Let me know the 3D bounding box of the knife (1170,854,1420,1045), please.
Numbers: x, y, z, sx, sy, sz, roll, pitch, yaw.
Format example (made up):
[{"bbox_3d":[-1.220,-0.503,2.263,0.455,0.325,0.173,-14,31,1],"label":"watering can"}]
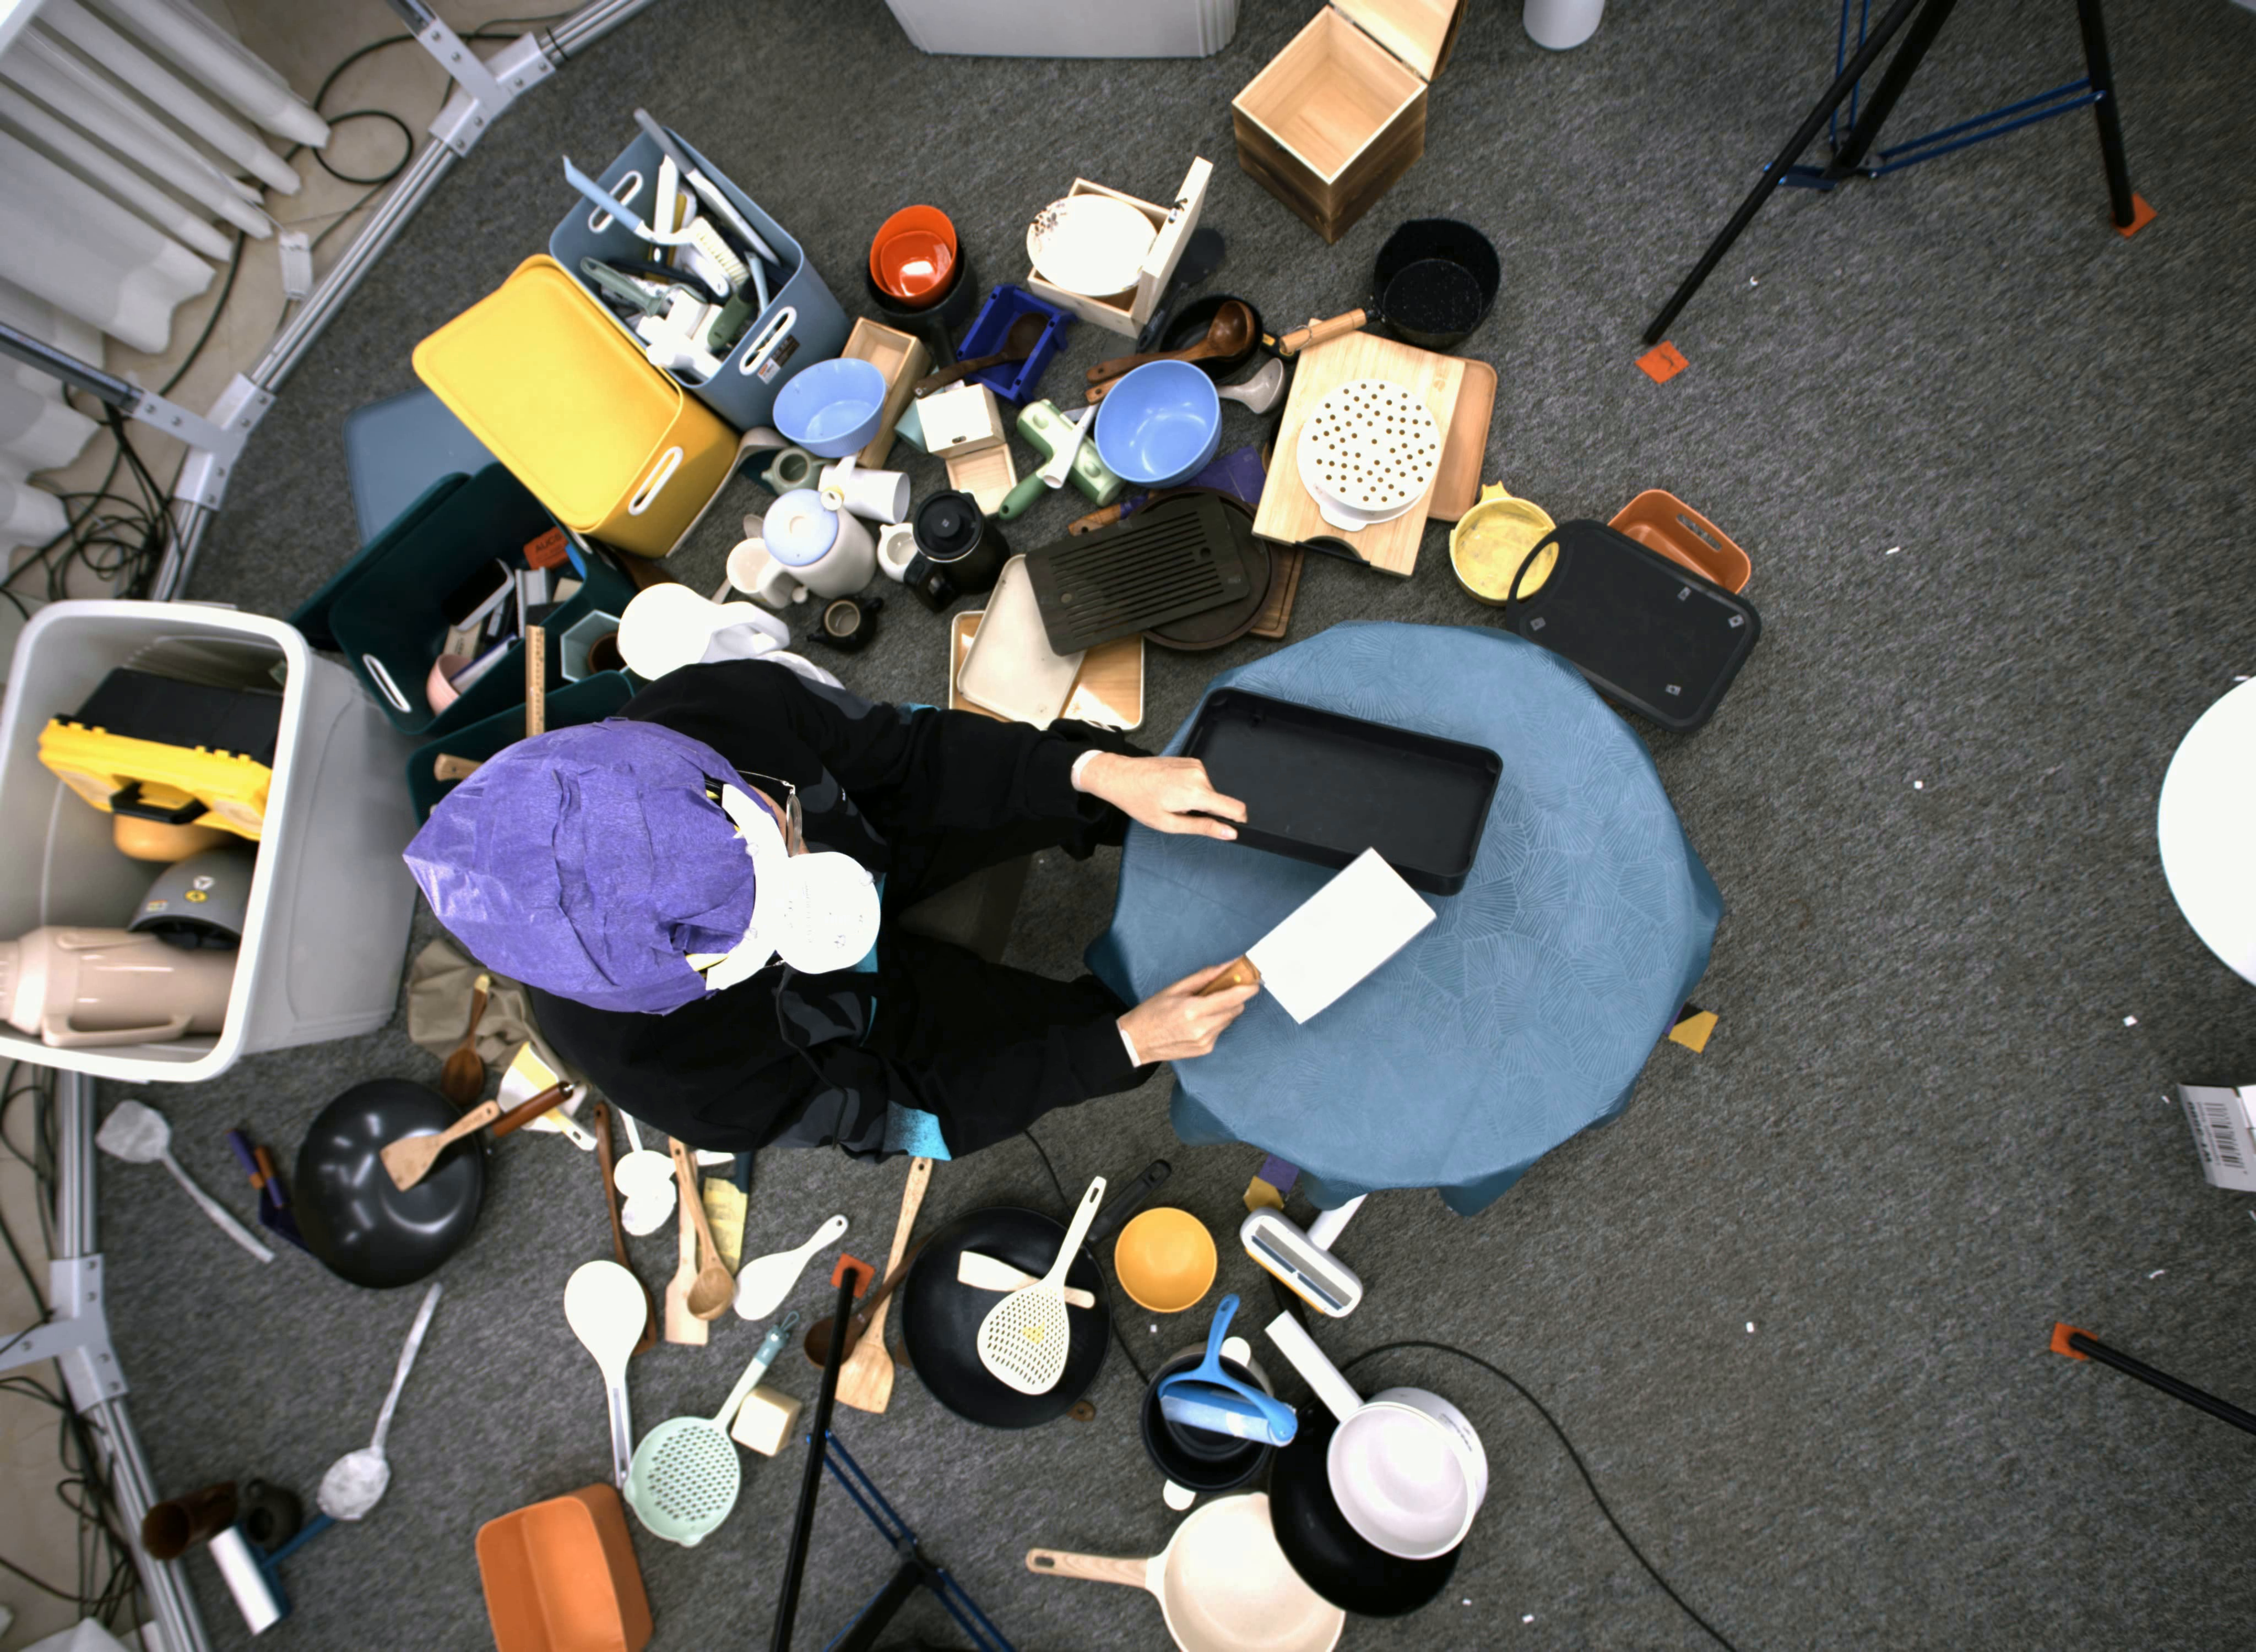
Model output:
[{"bbox_3d":[0.164,0.144,1.370,0.093,0.020,0.312,45,123,-1],"label":"knife"}]

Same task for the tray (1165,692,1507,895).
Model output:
[{"bbox_3d":[0.212,-0.039,1.399,0.318,0.038,0.179,13,52,16],"label":"tray"}]
